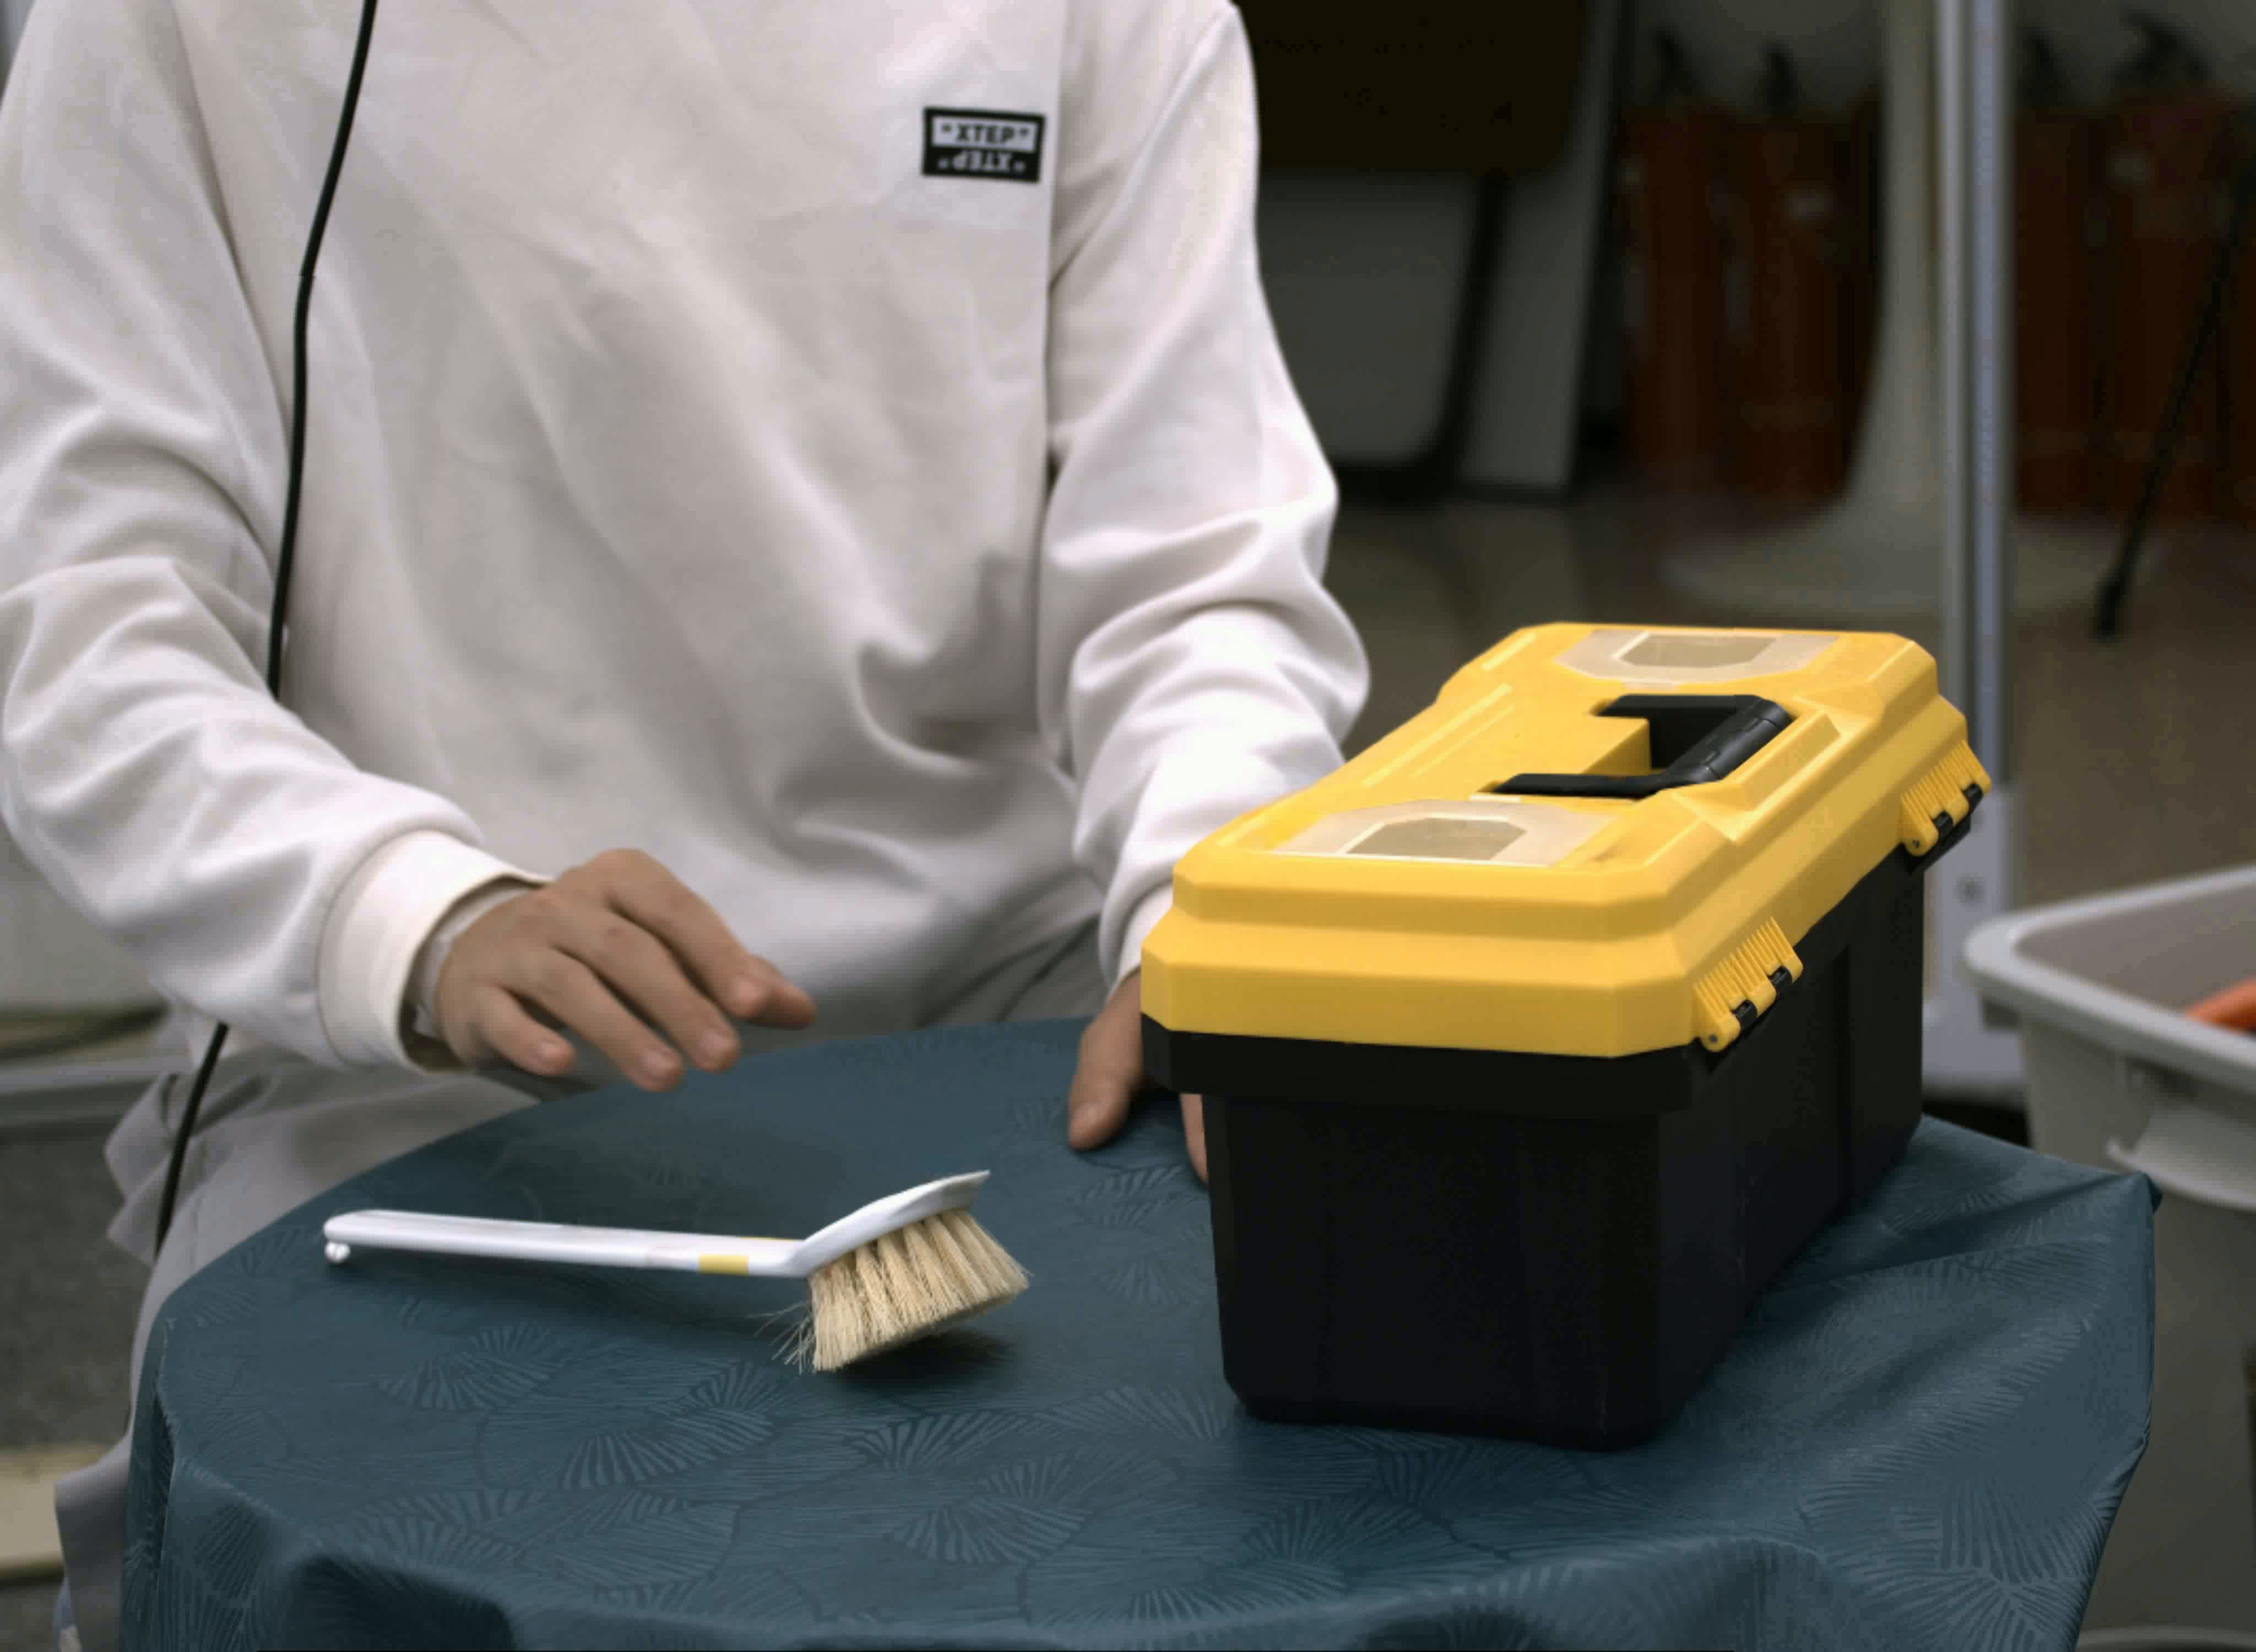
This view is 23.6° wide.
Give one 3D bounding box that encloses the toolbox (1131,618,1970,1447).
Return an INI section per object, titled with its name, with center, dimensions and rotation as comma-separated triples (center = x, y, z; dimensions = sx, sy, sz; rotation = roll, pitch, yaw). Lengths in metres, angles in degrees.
[toolbox]
center = 0.139, 0.053, 1.645
dimensions = 0.181, 0.175, 0.347
rotation = 3, 14, 23

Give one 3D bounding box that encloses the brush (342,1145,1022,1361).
[brush]
center = -0.144, 0.148, 1.683
dimensions = 0.268, 0.057, 0.067
rotation = -14, -17, 36
